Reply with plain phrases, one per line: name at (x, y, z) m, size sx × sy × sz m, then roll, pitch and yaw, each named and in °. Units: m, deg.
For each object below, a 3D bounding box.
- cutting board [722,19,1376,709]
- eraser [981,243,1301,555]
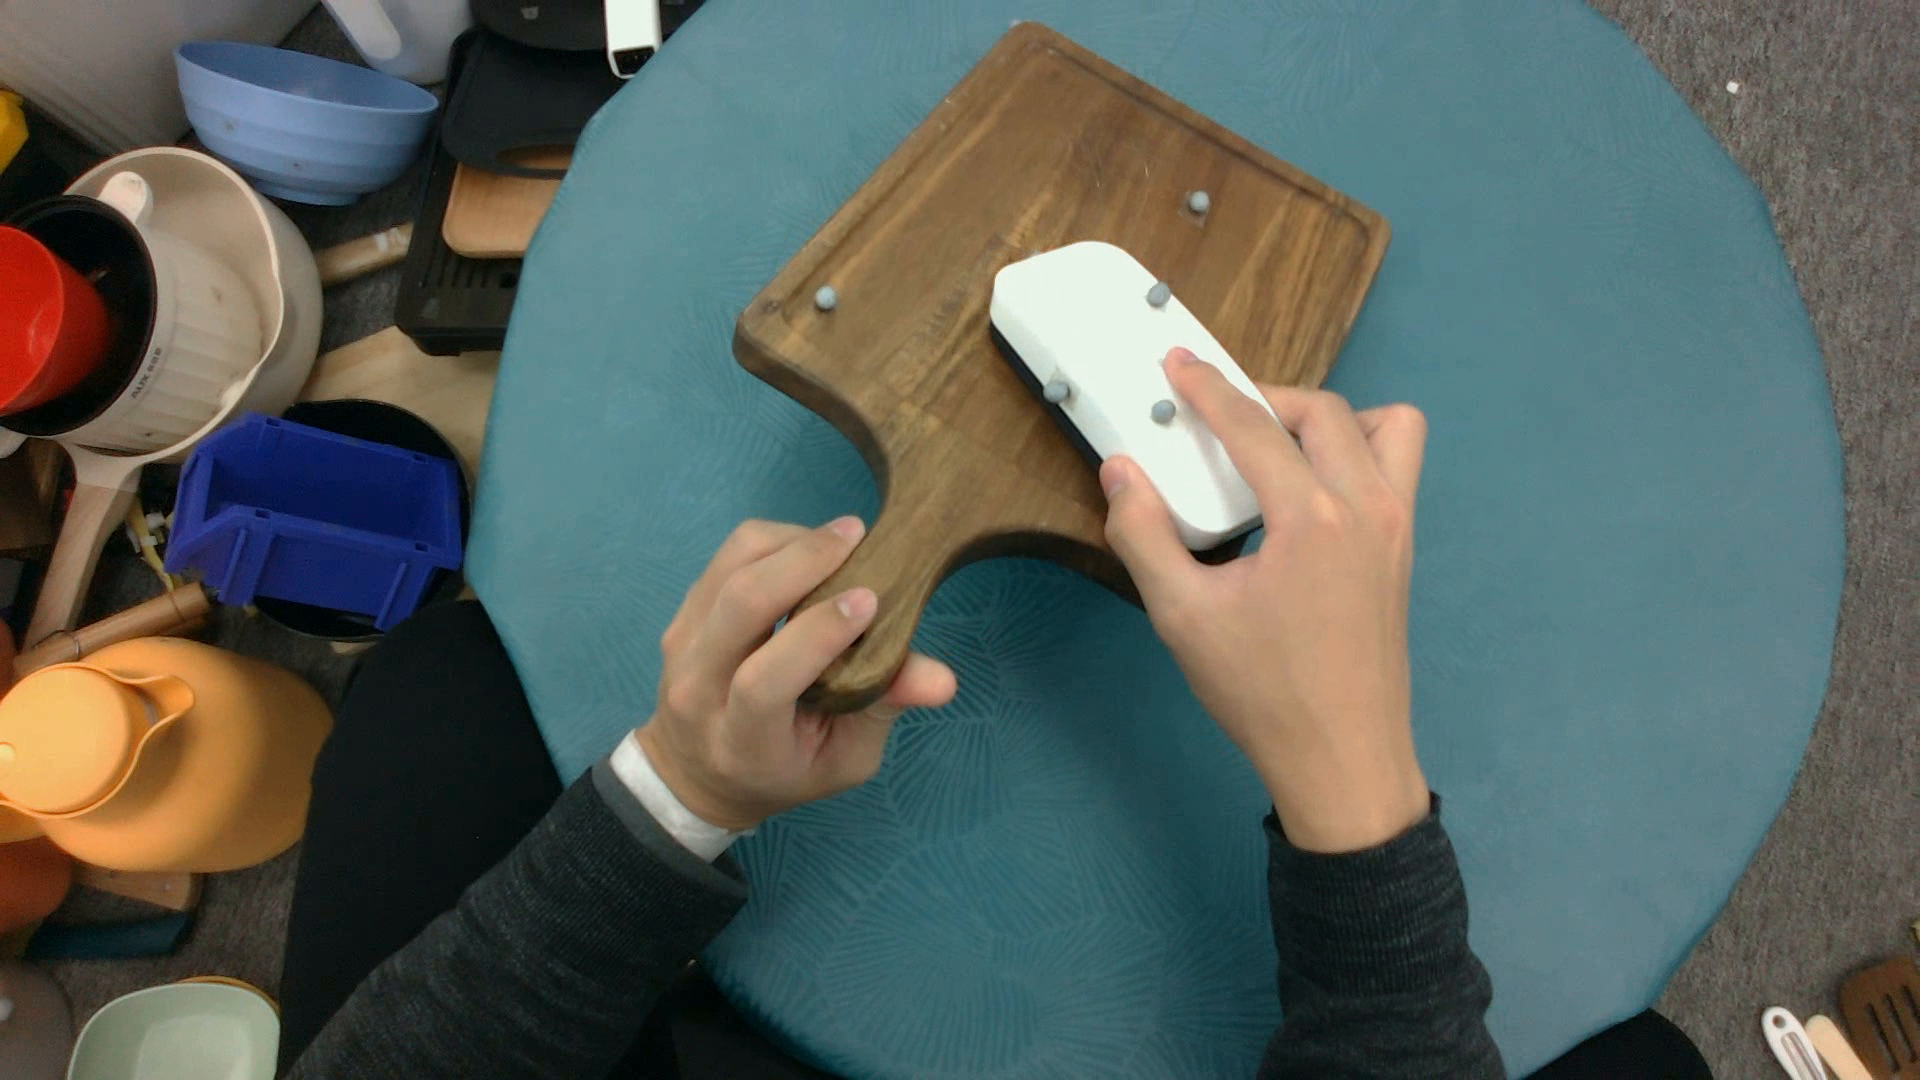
cutting board at (0.030, -0.073, 0.526) m, size 0.201 × 0.023 × 0.354 m, roll 31°, pitch 52°, yaw 3°
eraser at (0.061, -0.054, 0.495) m, size 0.063 × 0.034 × 0.131 m, roll -22°, pitch 62°, yaw -29°
